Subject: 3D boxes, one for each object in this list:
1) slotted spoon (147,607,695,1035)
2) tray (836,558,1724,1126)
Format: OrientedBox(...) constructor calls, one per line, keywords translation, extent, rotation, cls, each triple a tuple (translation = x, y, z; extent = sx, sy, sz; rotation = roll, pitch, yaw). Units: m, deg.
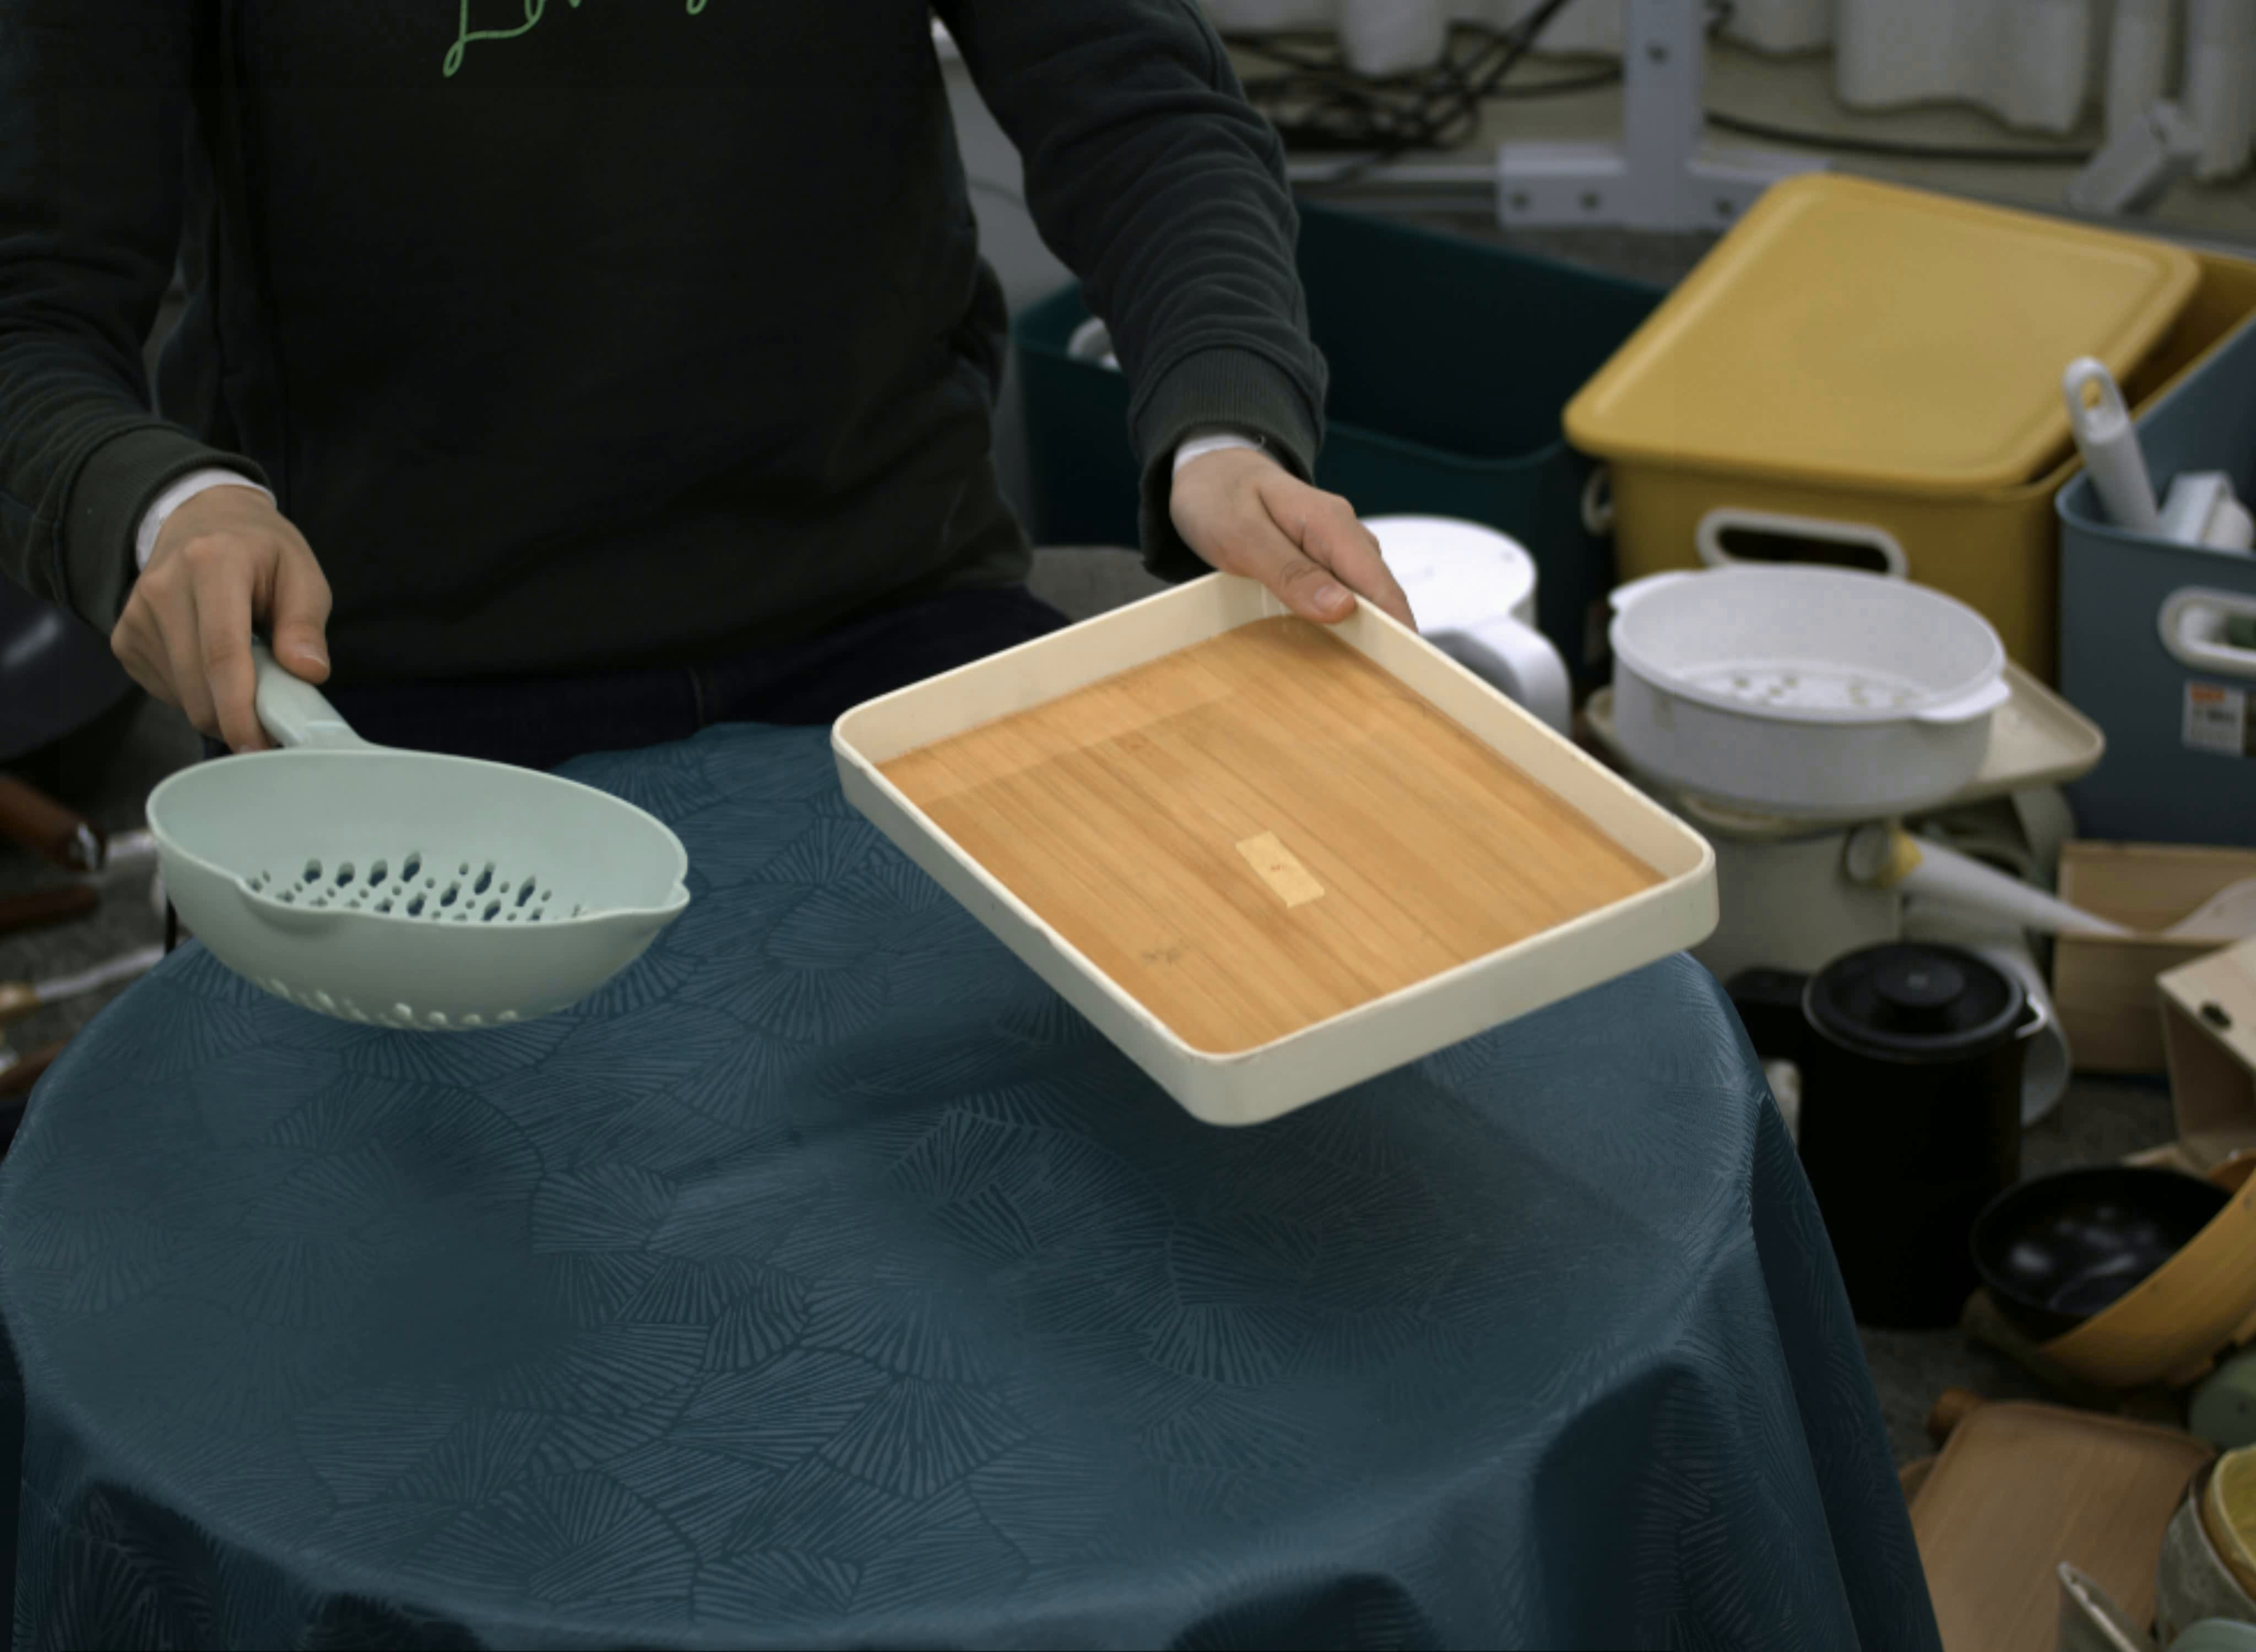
OrientedBox(translation=(-0.259, -0.016, 1.842), extent=(0.169, 0.074, 0.362), rotation=(1, 26, -24), cls="slotted spoon")
OrientedBox(translation=(0.044, -0.001, 1.851), extent=(0.192, 0.027, 0.302), rotation=(-20, 30, -19), cls="tray")
